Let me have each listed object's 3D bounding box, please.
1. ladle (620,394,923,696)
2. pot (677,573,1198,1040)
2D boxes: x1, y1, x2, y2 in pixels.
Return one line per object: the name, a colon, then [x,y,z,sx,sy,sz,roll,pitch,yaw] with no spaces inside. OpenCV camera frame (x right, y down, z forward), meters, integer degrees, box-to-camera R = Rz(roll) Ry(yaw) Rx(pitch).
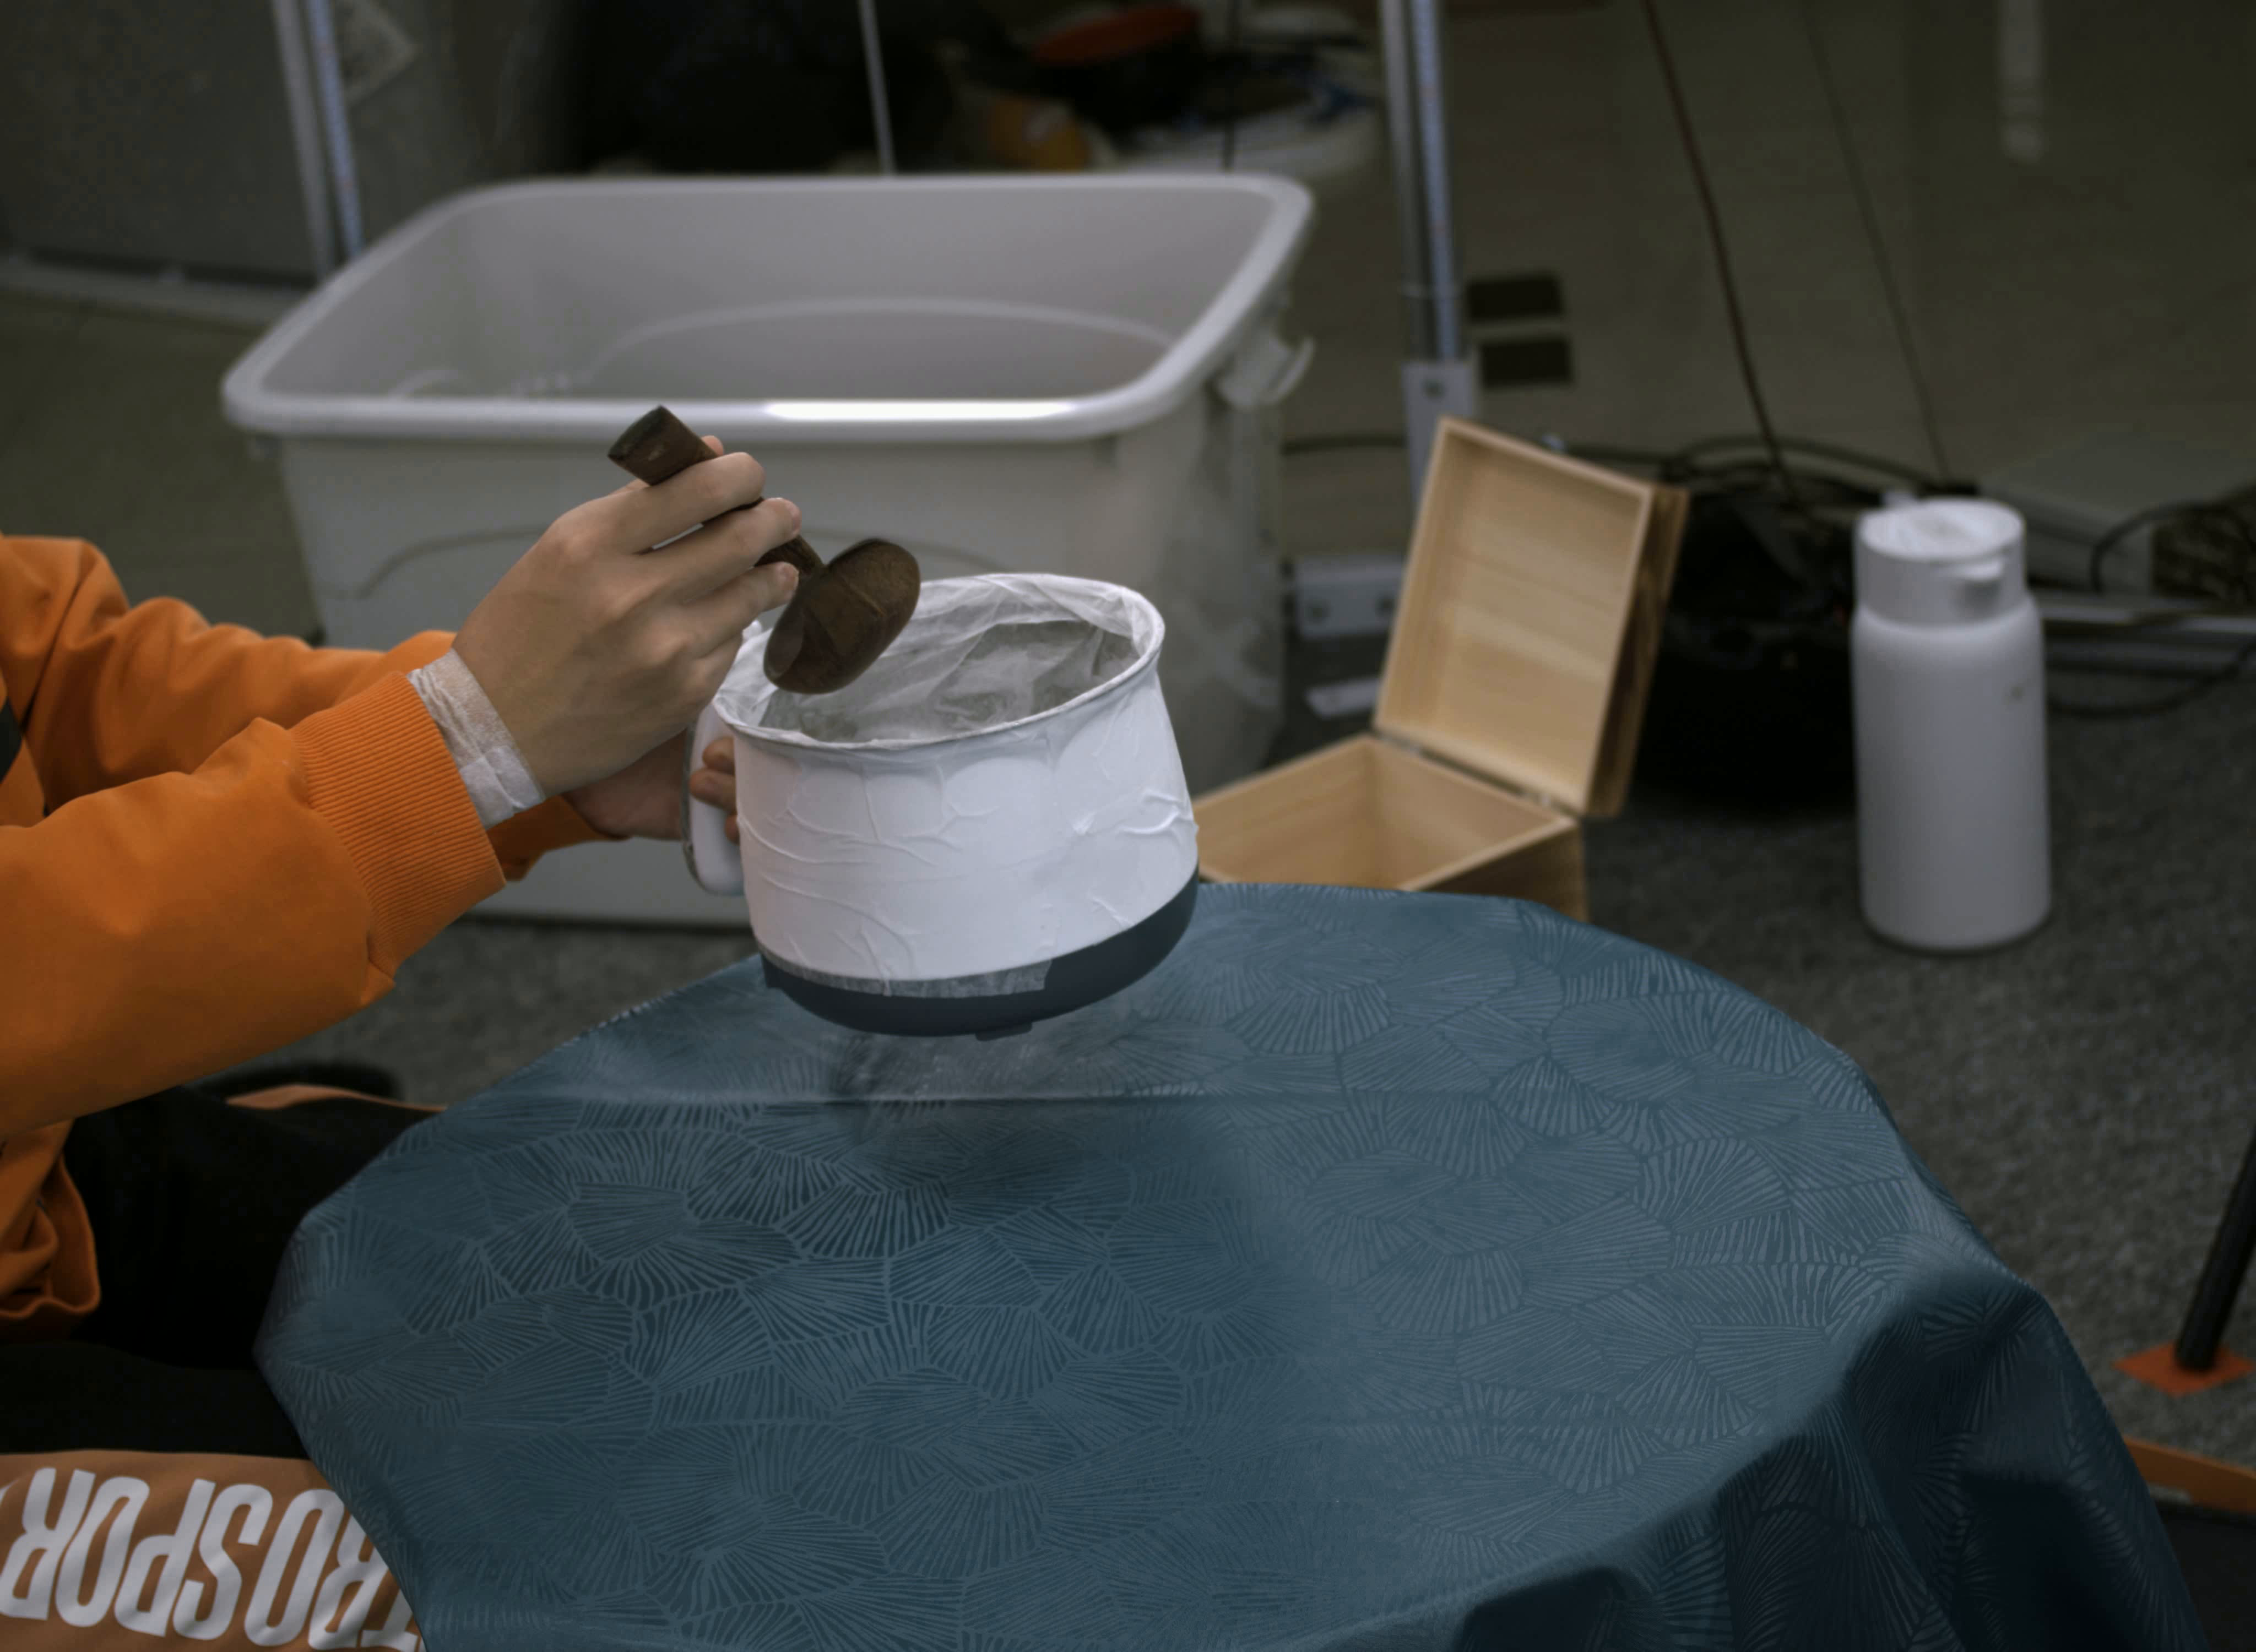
ladle: [-0.142,-0.114,2.048,0.070,0.277,0.076,38,88,26]
pot: [-0.087,-0.010,2.210,0.232,0.138,0.177,9,28,36]
